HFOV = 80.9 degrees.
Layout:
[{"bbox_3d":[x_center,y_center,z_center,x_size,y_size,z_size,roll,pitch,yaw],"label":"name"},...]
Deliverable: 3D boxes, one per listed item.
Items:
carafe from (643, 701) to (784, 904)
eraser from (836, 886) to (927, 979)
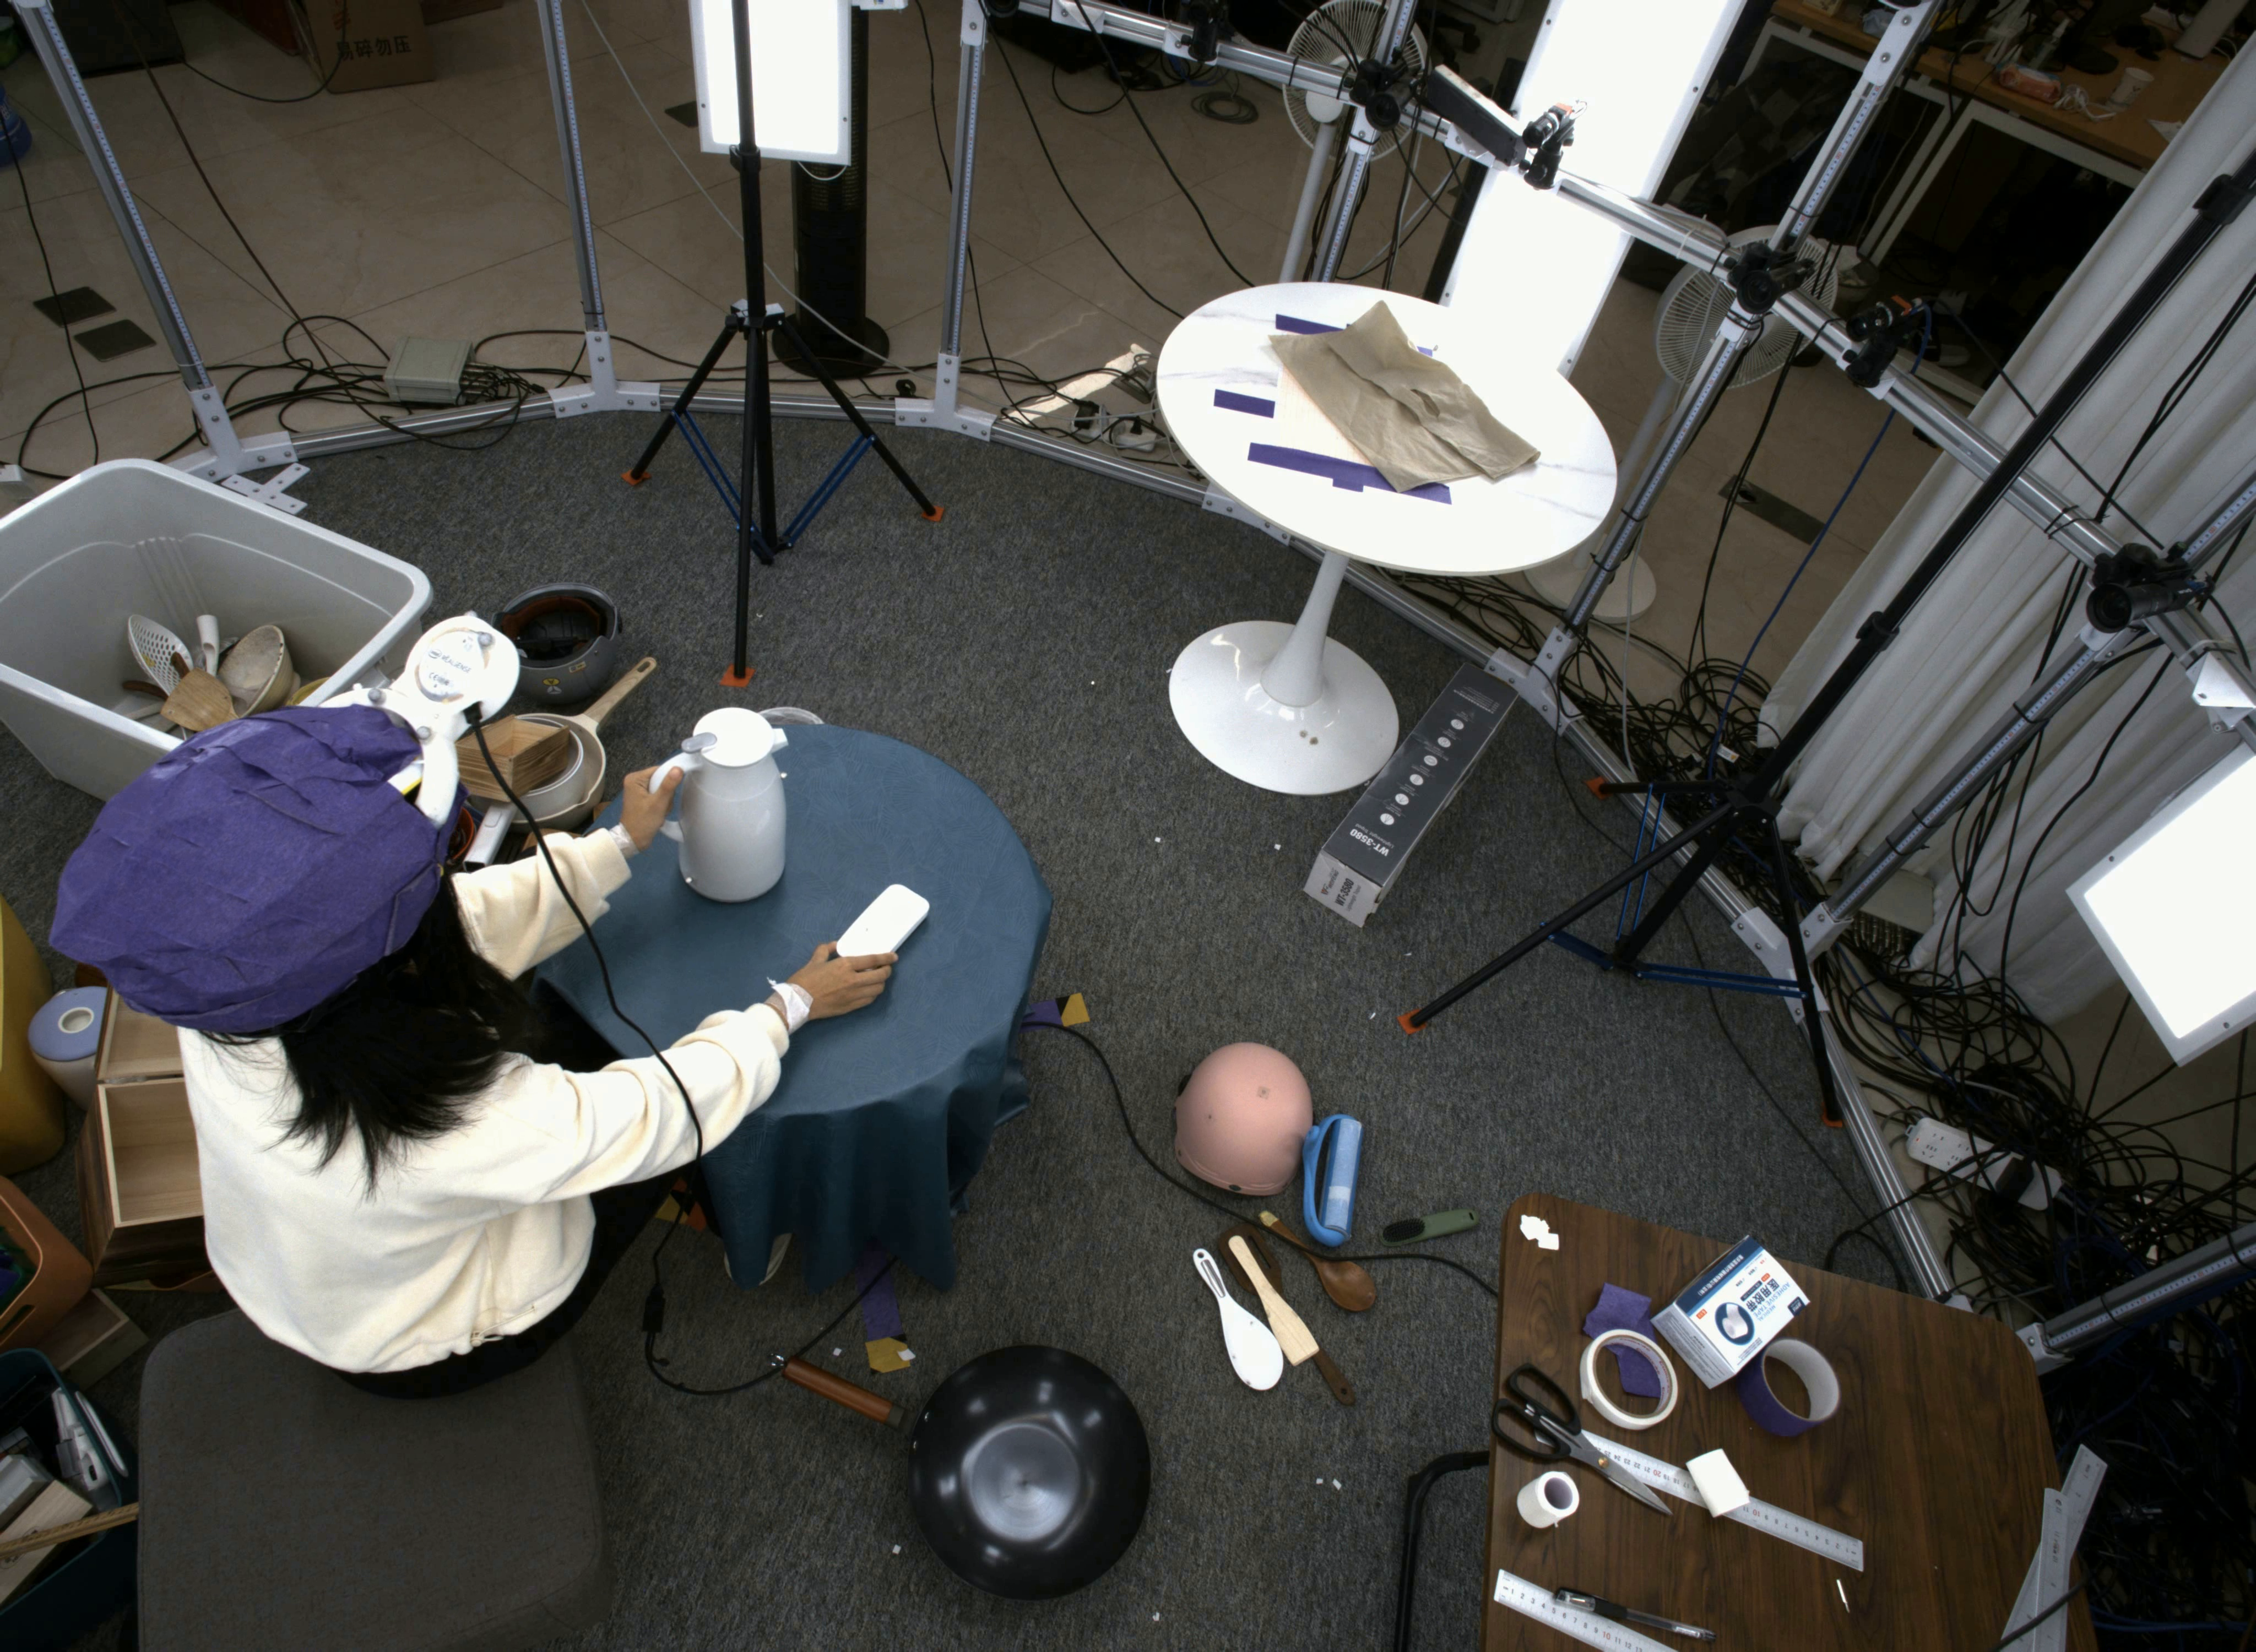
[{"bbox_3d":[-0.498,-0.030,1.553,0.169,0.253,0.129,-17,58,-27],"label":"carafe"},{"bbox_3d":[-0.310,0.129,1.632,0.062,0.035,0.131,29,52,12],"label":"eraser"}]
